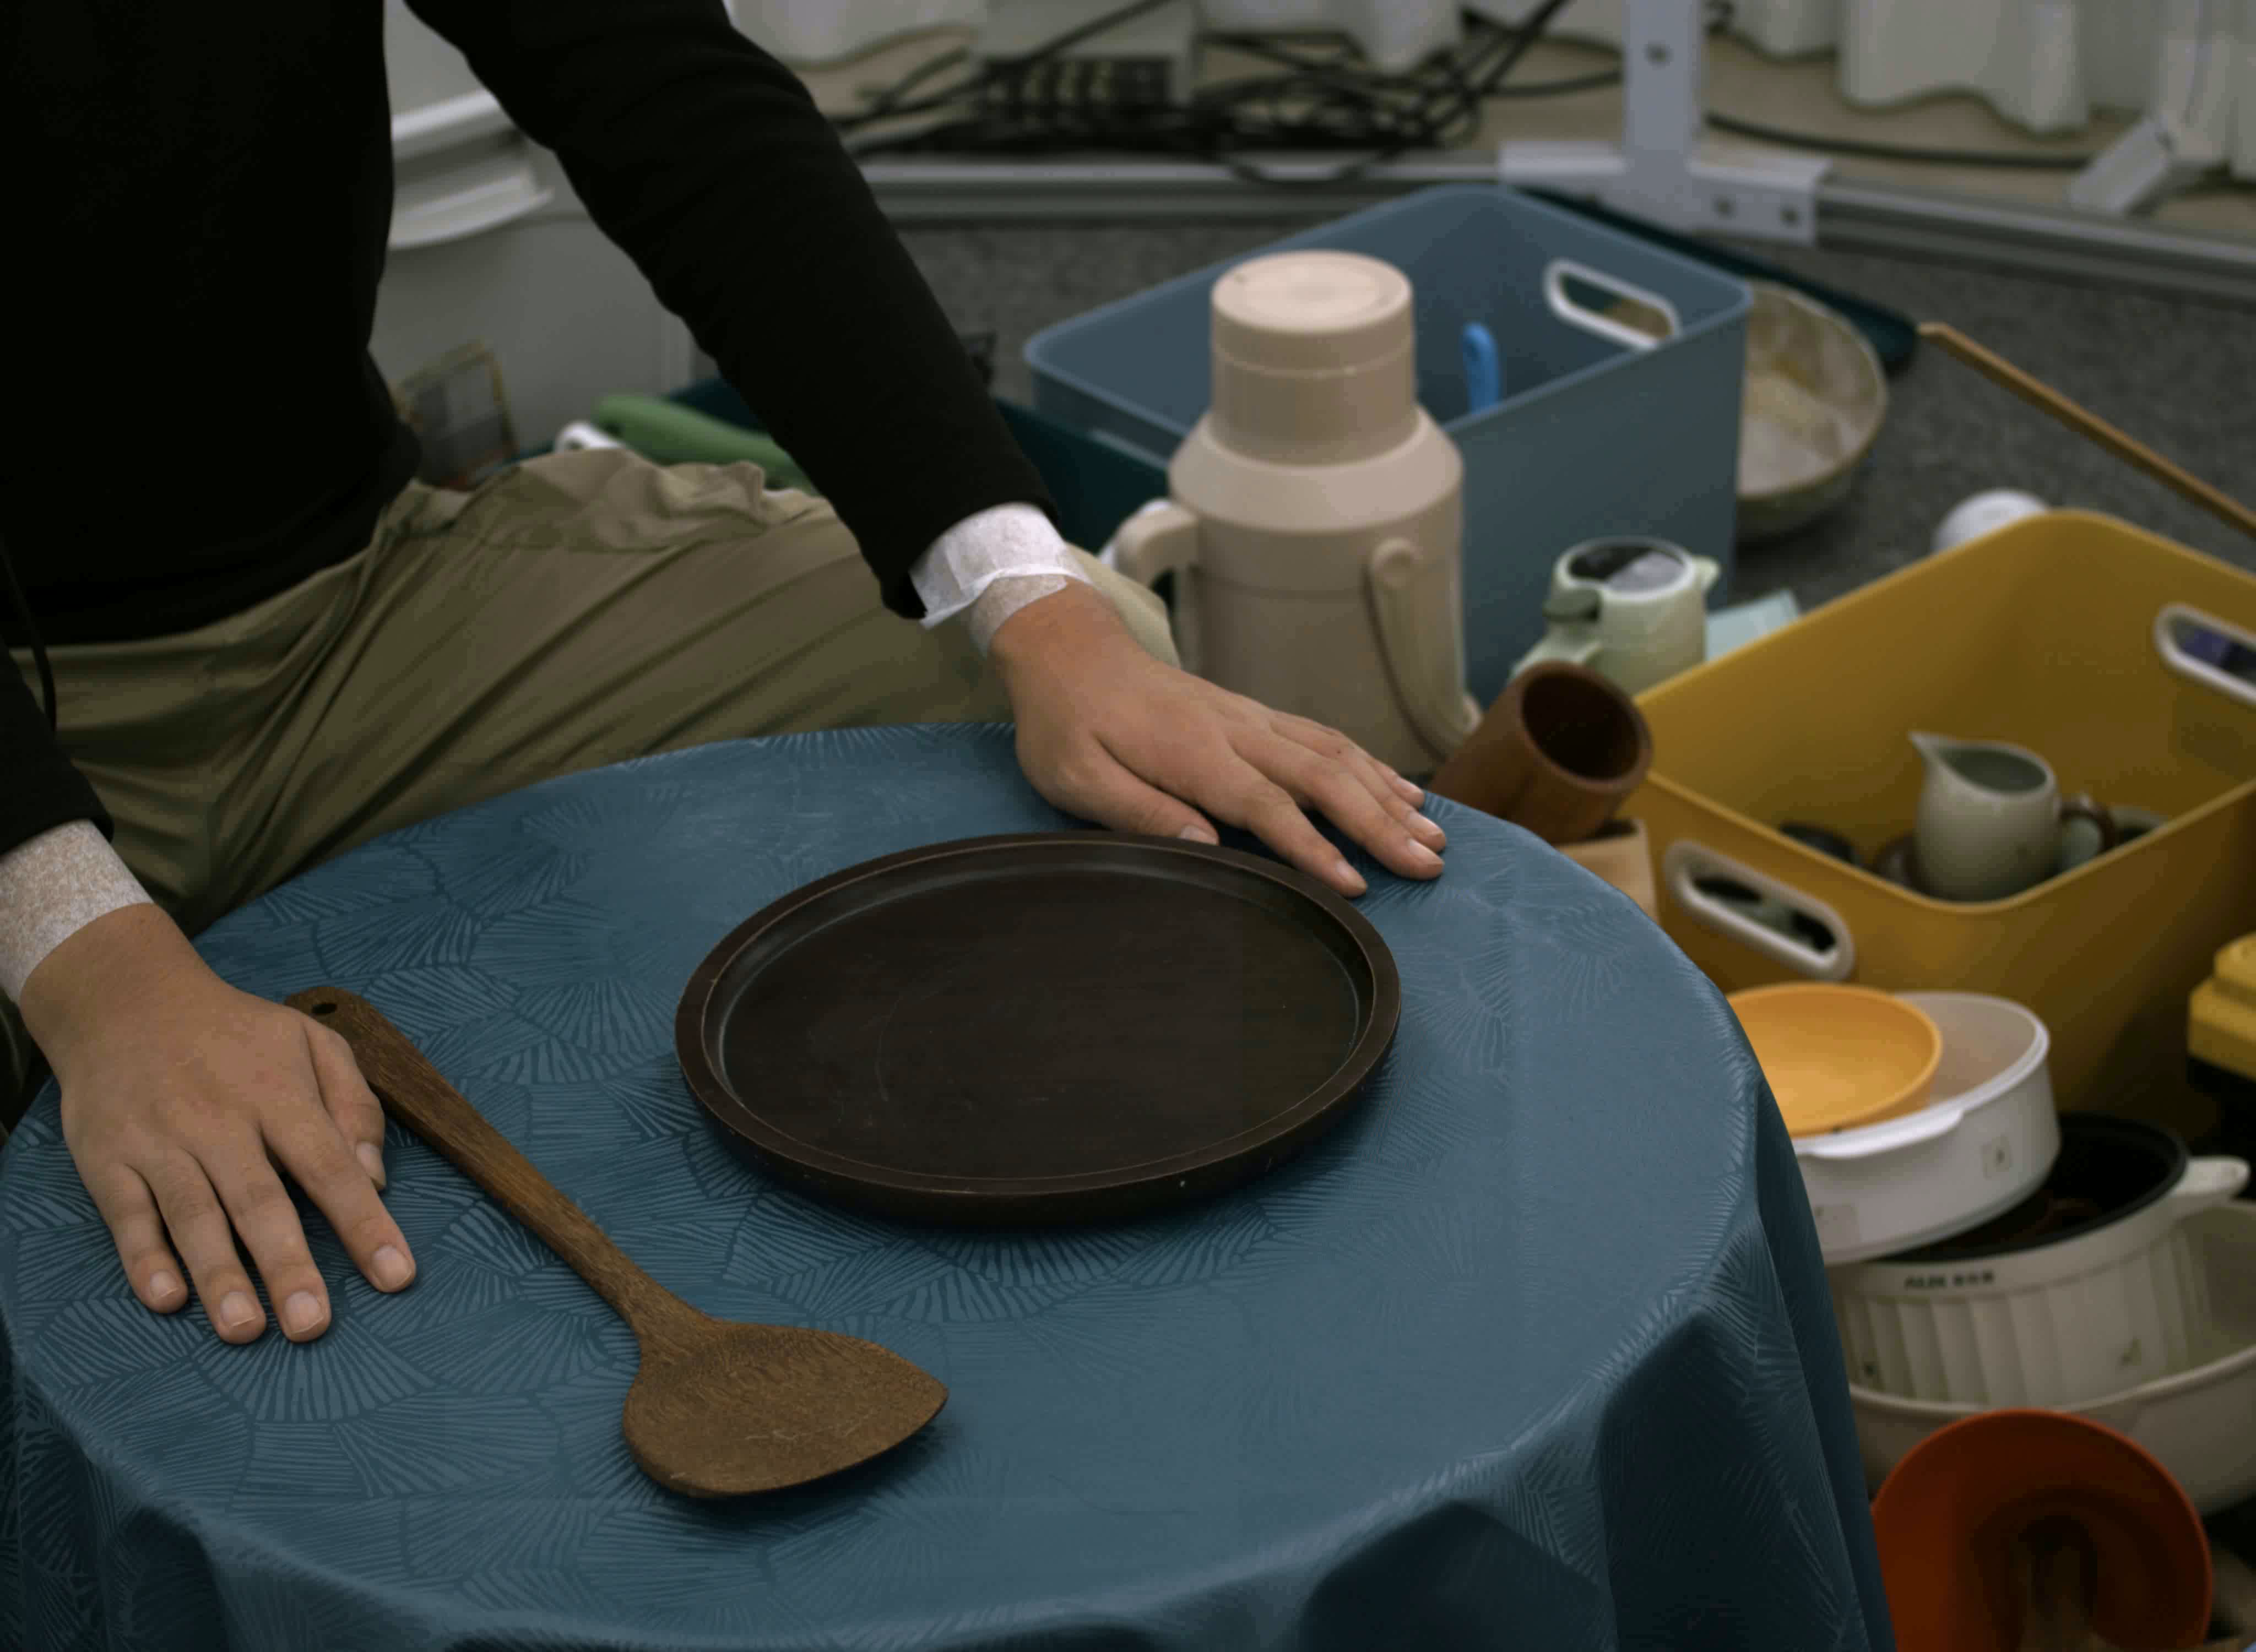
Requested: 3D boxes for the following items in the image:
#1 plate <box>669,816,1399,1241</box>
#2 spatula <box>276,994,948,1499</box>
[{"bbox_3d":[-0.032,0.070,1.940,0.253,0.029,0.259,-2,29,2],"label":"plate"},{"bbox_3d":[-0.191,0.129,1.850,0.097,0.015,0.387,-18,31,-28],"label":"spatula"}]
